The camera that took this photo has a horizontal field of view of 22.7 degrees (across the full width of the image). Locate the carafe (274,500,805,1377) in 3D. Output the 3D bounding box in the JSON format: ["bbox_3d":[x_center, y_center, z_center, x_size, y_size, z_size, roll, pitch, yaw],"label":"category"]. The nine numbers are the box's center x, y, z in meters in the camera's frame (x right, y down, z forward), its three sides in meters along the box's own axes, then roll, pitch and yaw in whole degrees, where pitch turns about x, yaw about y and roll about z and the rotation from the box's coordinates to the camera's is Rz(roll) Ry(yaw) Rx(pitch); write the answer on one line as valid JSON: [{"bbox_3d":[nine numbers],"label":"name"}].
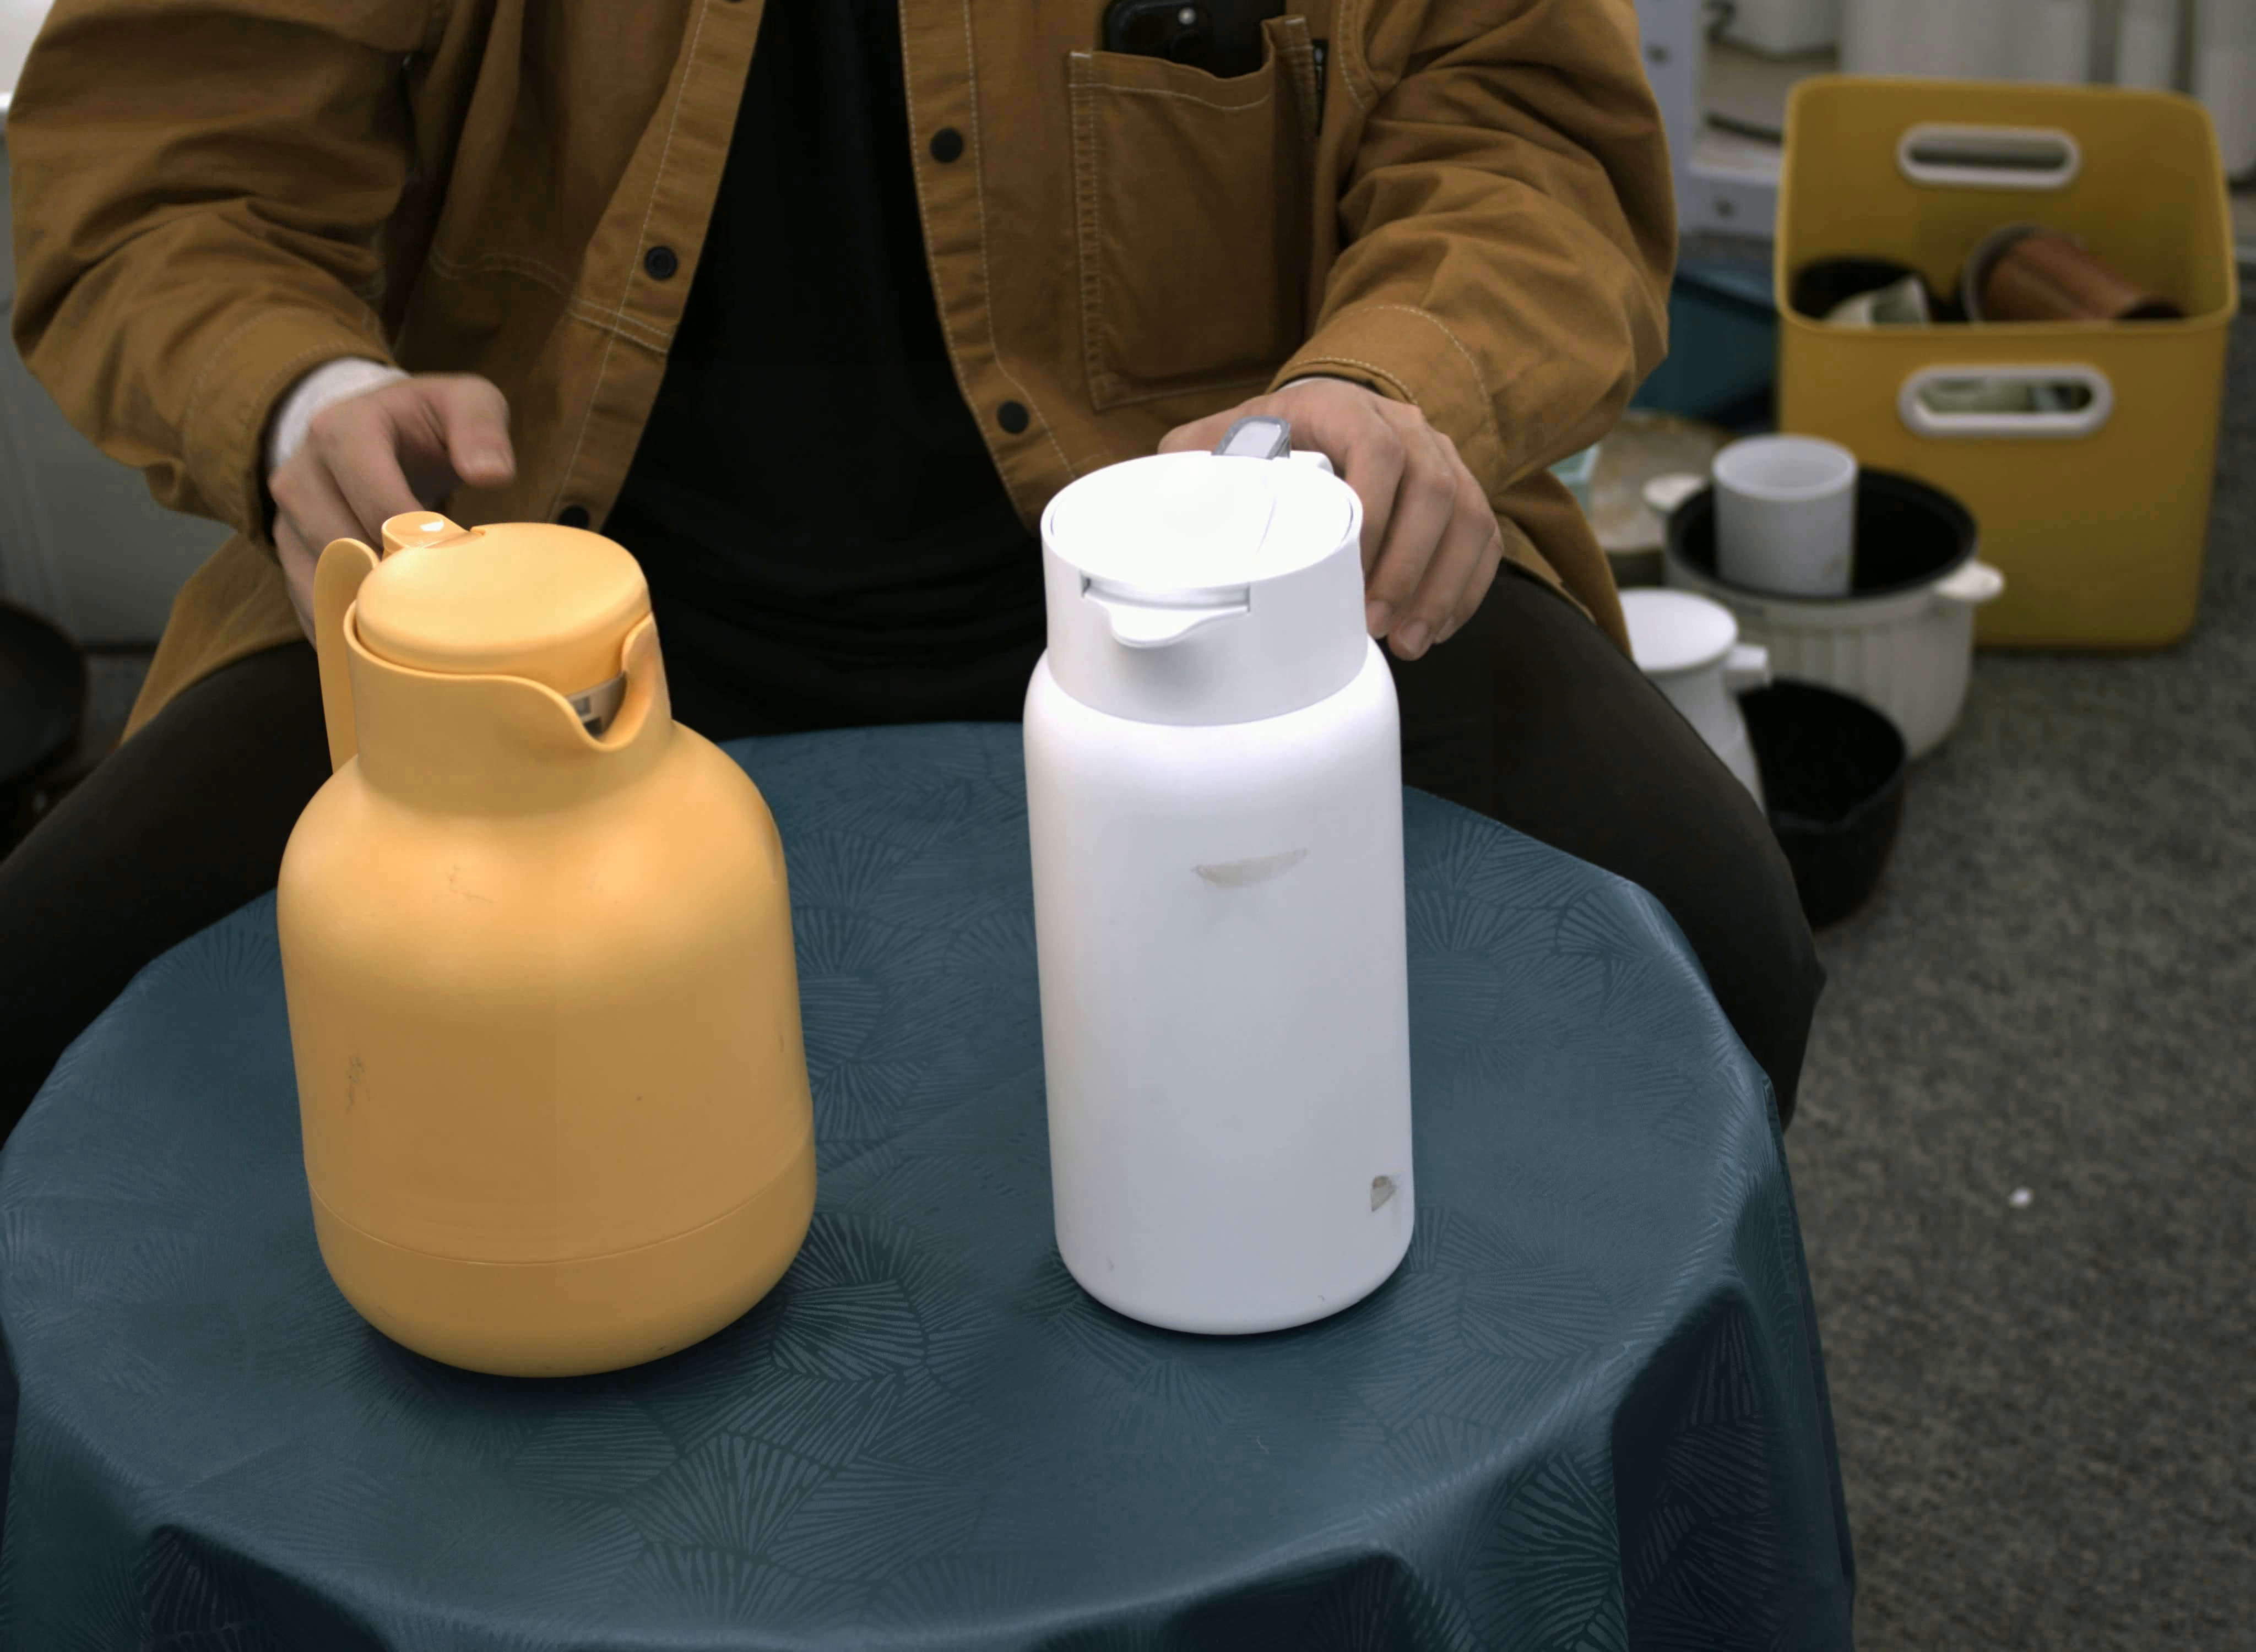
[{"bbox_3d":[-0.195,0.025,1.783,0.164,0.257,0.203,-15,29,-27],"label":"carafe"}]

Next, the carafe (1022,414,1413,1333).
[{"bbox_3d":[0.032,0.011,1.781,0.123,0.266,0.176,3,27,16],"label":"carafe"}]
